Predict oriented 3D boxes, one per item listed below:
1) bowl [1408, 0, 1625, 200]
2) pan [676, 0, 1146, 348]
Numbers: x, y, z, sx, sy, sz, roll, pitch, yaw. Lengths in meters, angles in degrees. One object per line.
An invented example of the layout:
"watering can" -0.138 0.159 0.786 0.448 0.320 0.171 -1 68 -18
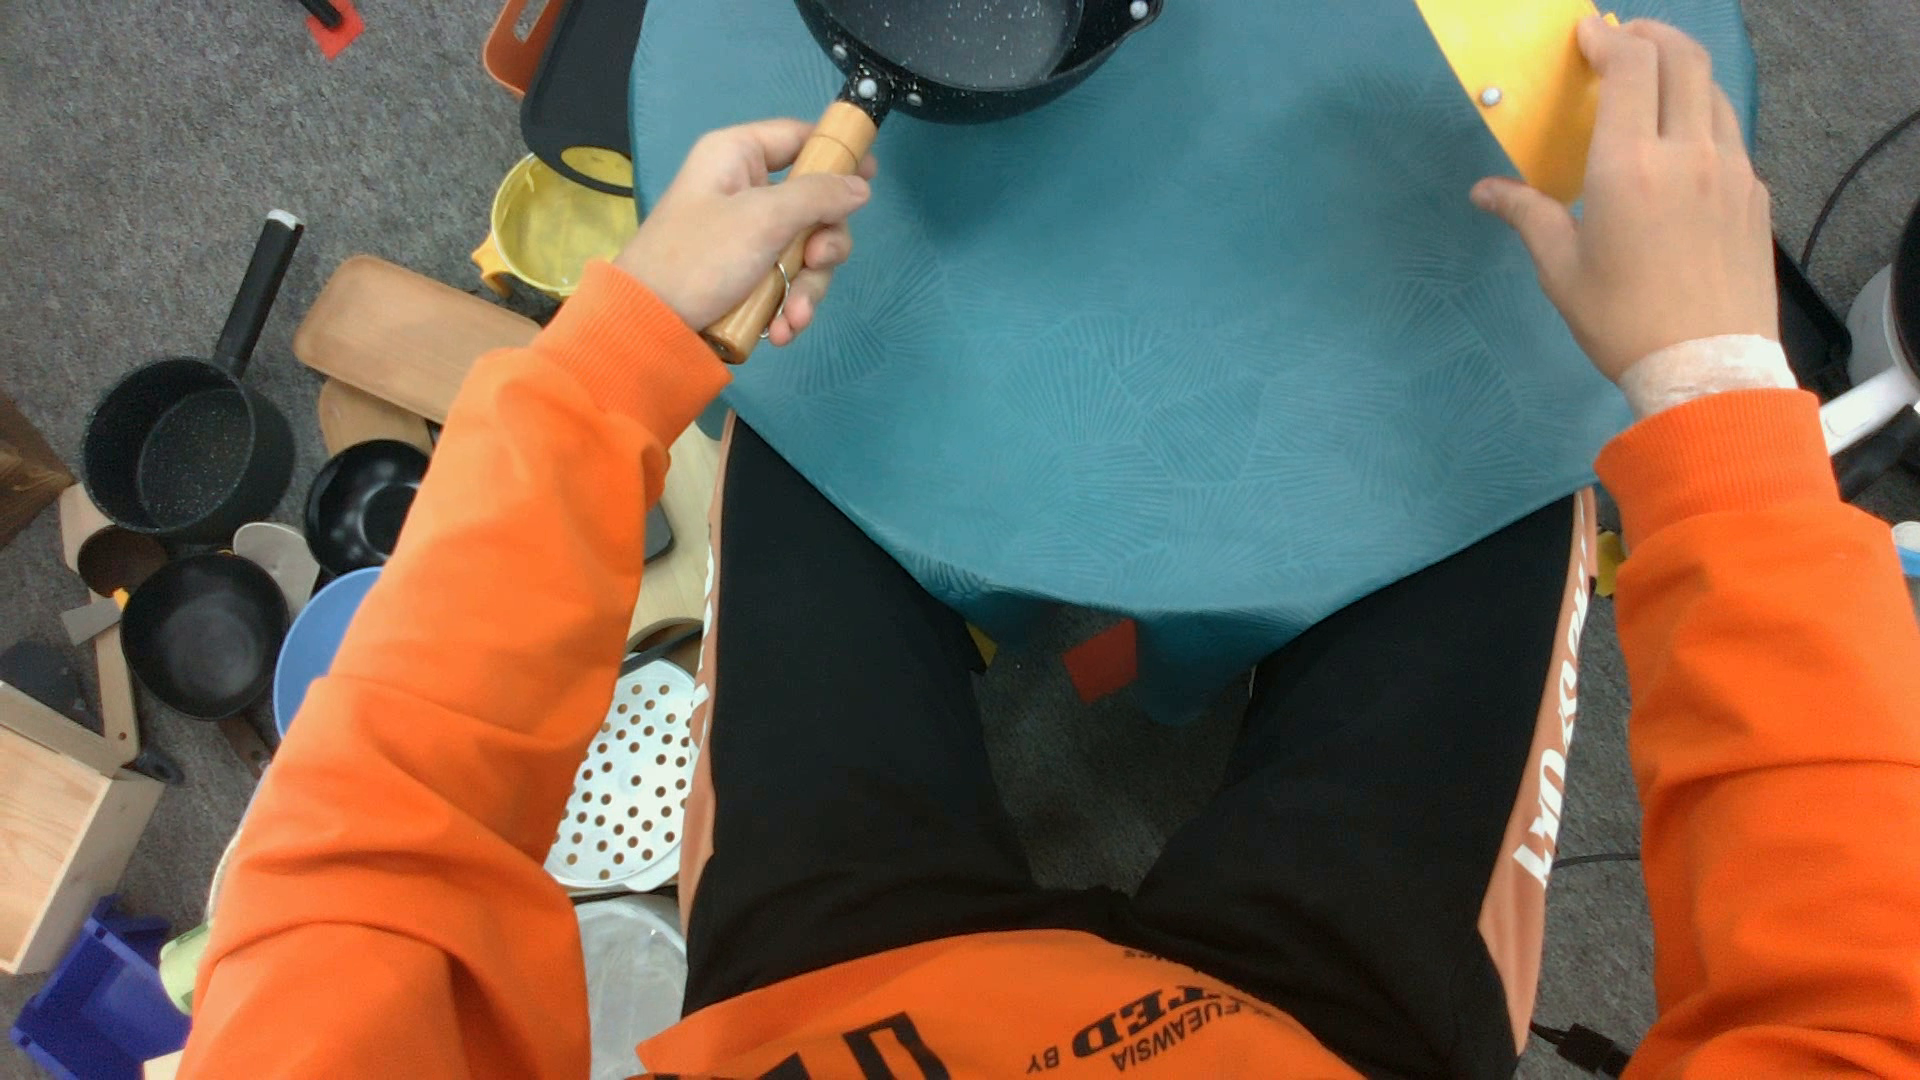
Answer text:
"bowl" 0.255 -0.231 0.621 0.060 0.146 0.145 -30 75 32
"pan" -0.040 -0.228 0.651 0.207 0.108 0.343 28 79 -10
